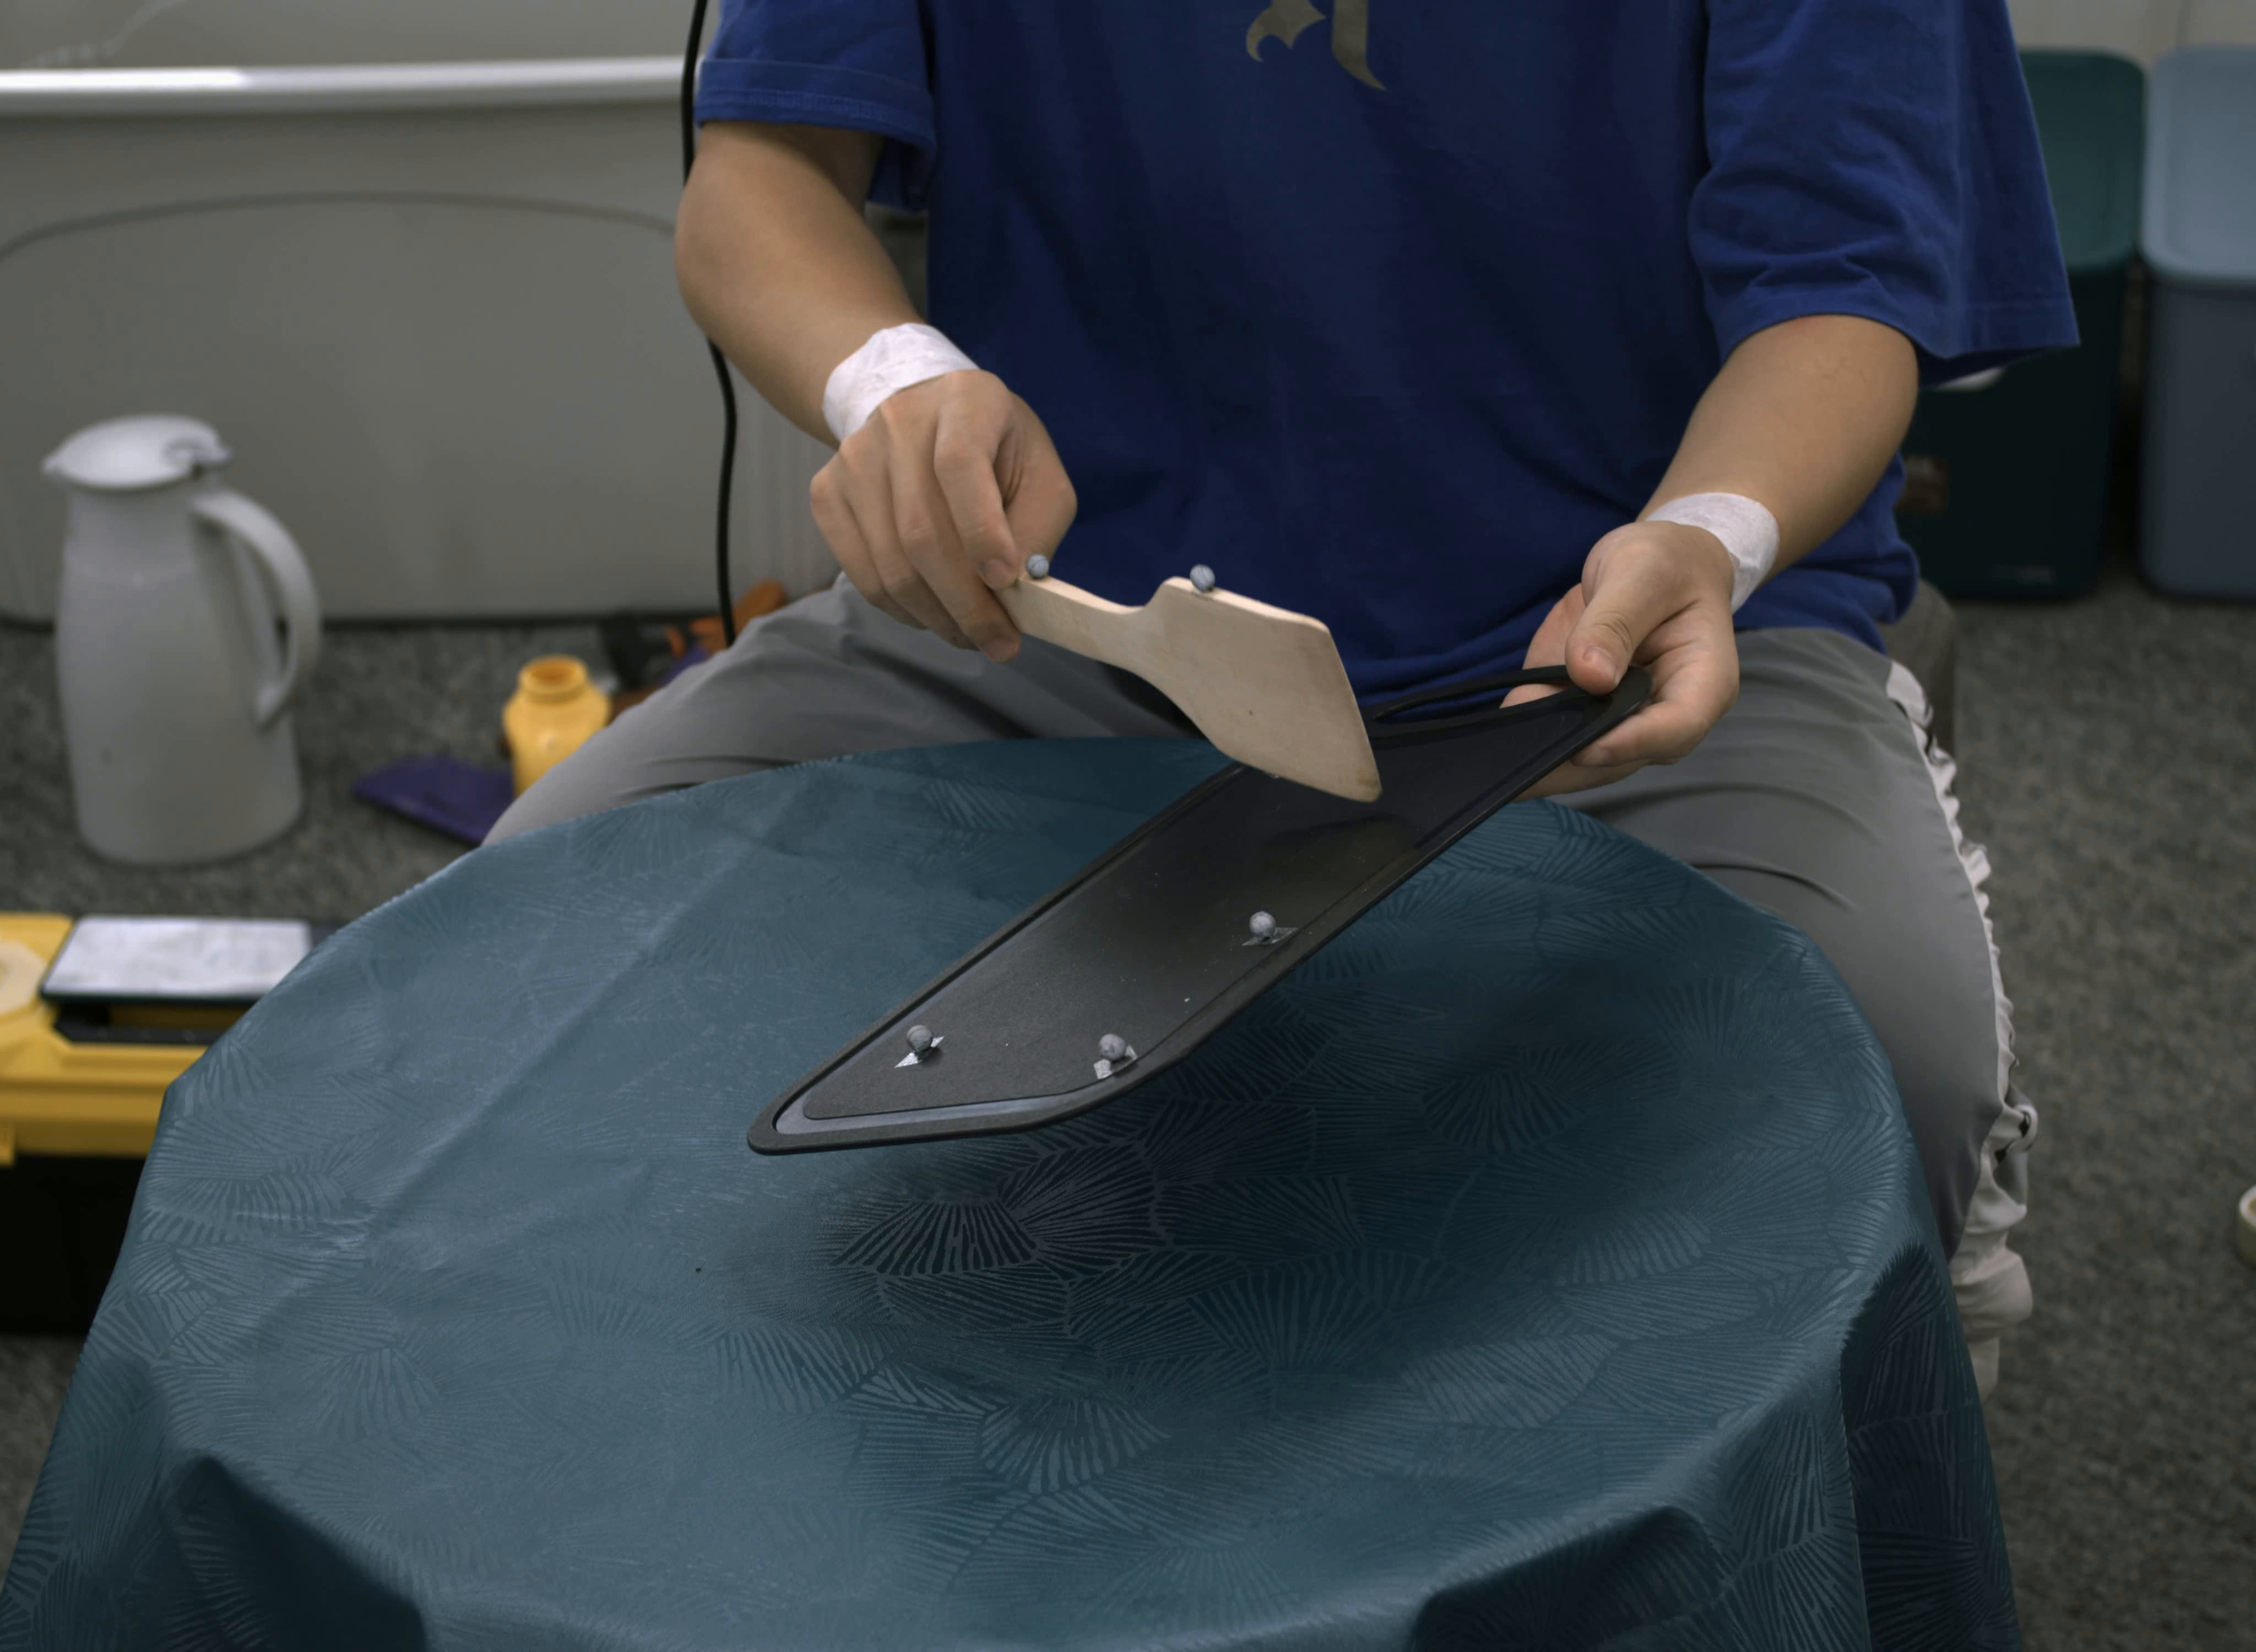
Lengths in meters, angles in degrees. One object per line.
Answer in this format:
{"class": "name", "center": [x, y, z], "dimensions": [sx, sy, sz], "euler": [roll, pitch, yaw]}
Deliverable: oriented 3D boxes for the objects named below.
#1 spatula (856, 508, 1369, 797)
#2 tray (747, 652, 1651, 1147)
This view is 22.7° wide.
{"class": "spatula", "center": [-0.015, -0.072, 1.940], "dimensions": [0.011, 0.071, 0.292], "euler": [-33, 30, -23]}
{"class": "tray", "center": [0.029, 0.019, 1.847], "dimensions": [0.330, 0.010, 0.208], "euler": [-36, 16, -37]}
